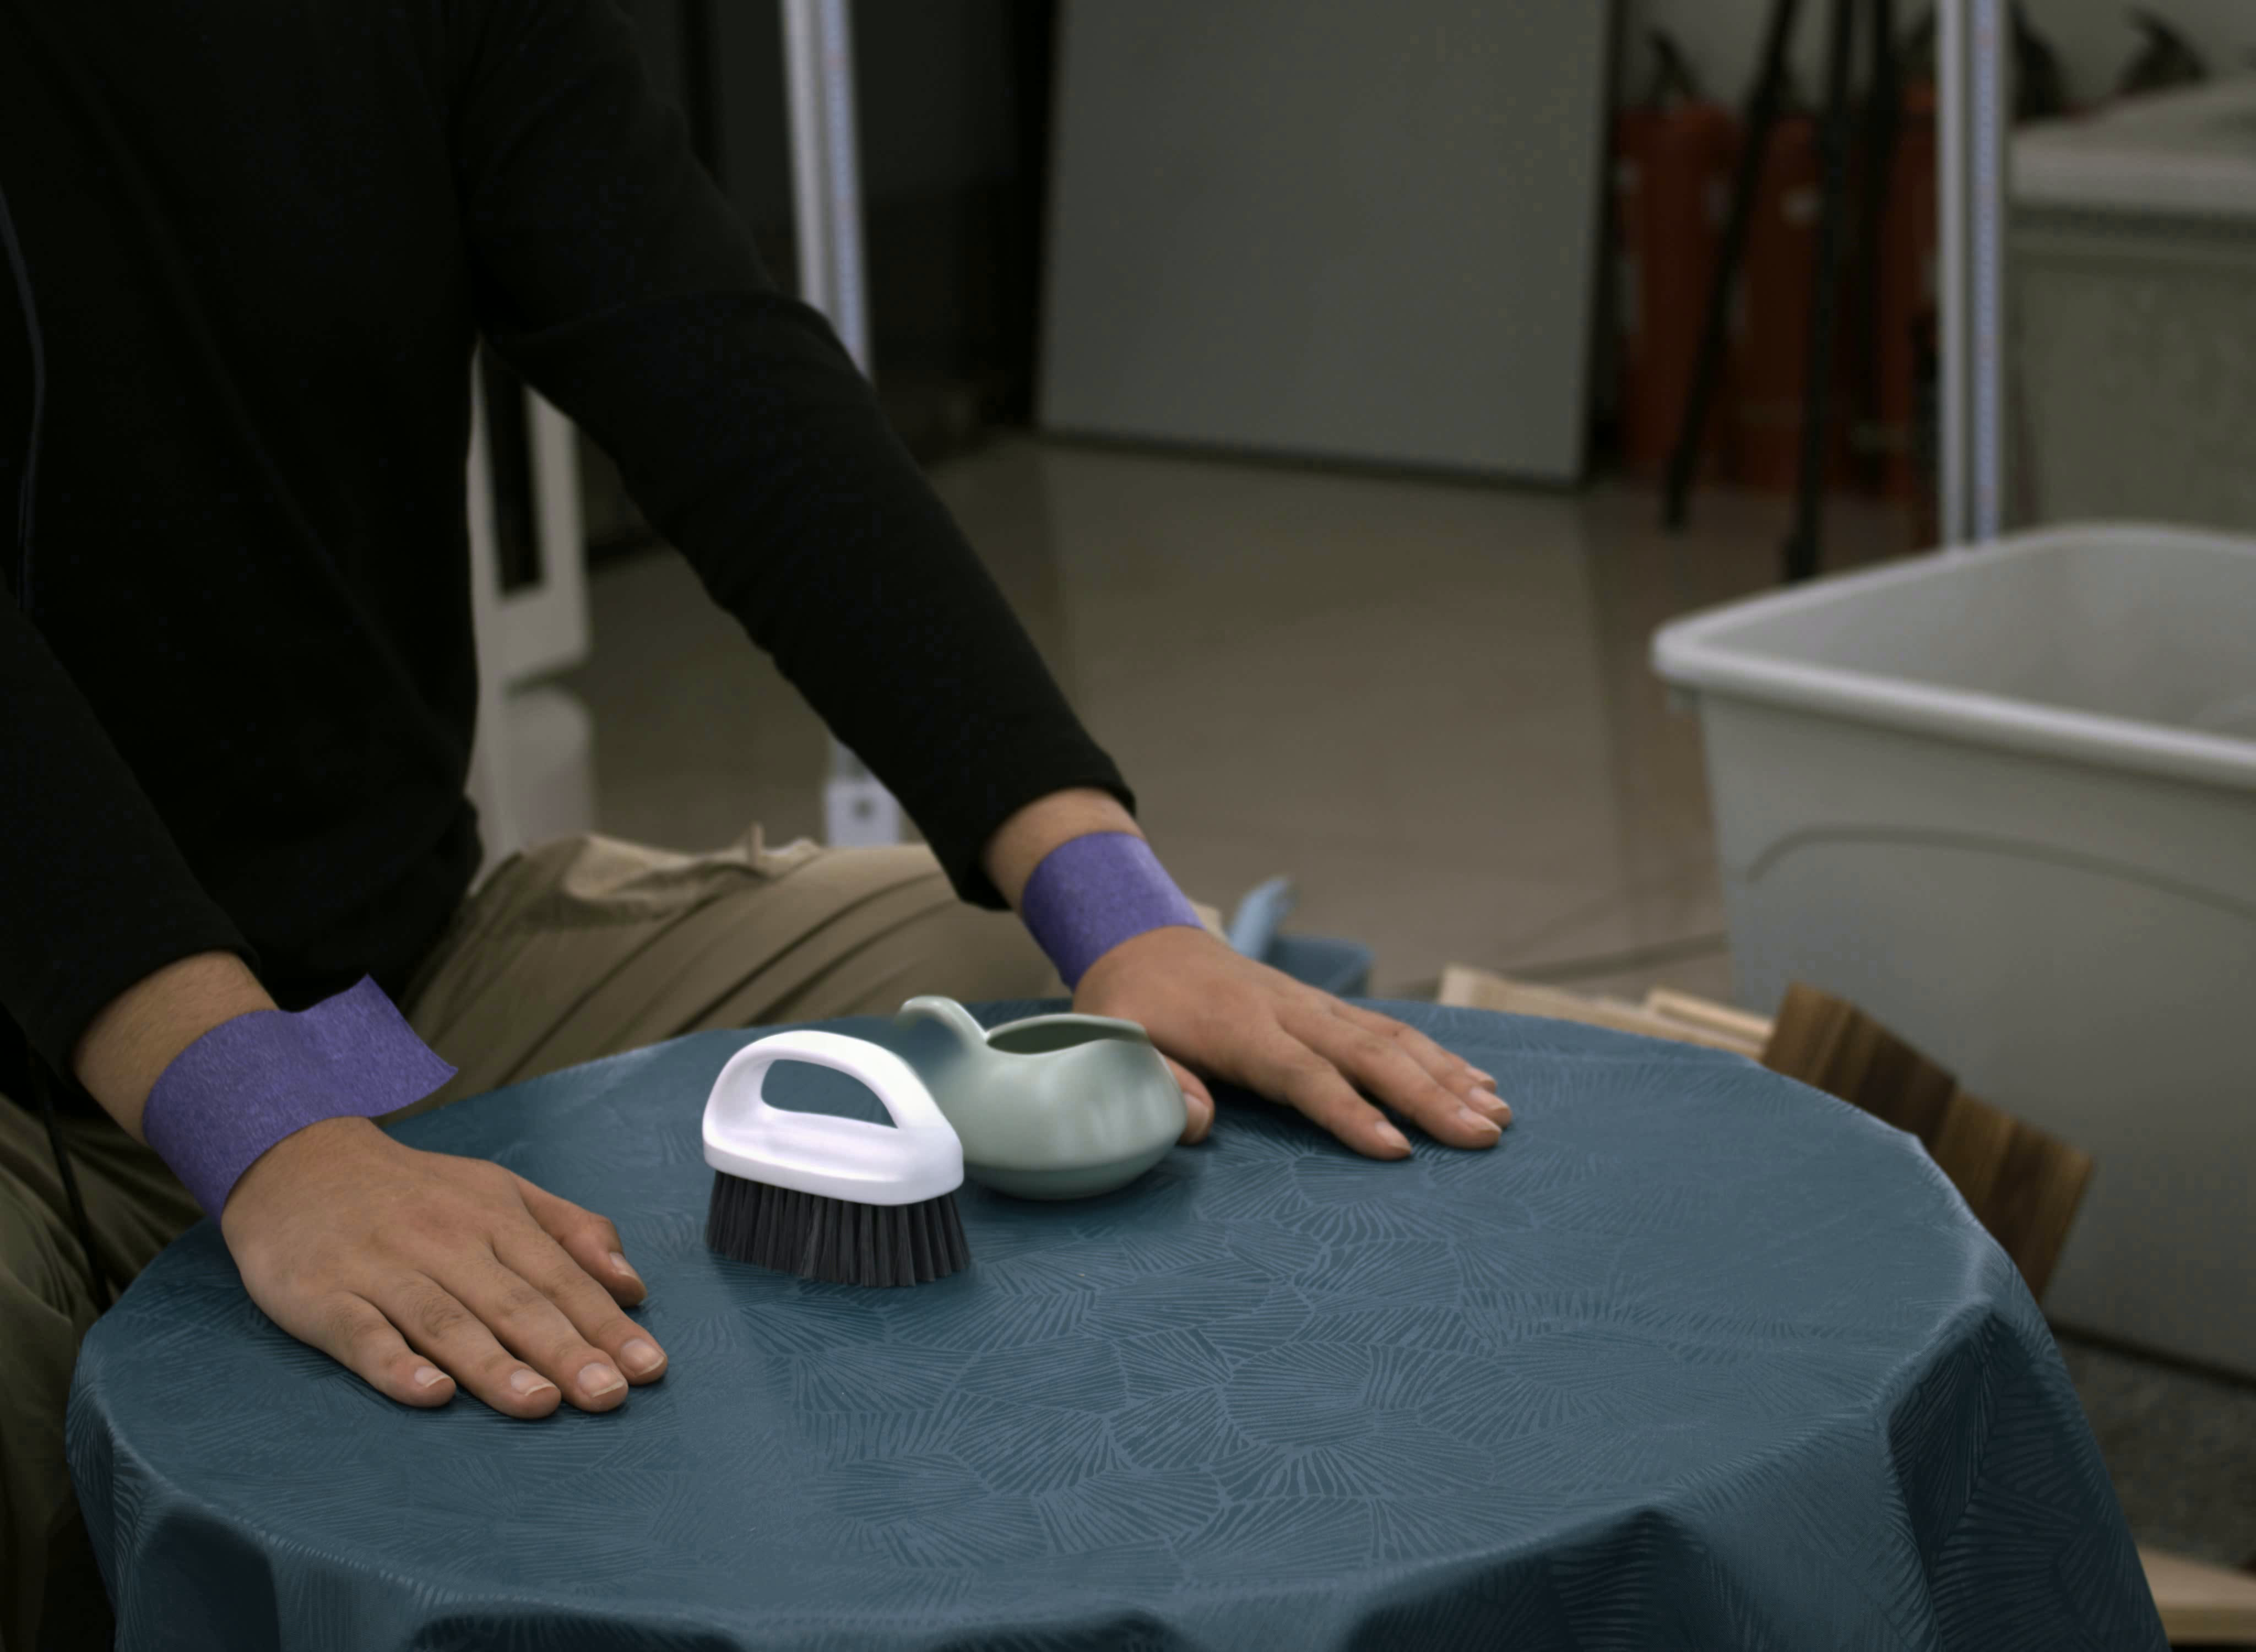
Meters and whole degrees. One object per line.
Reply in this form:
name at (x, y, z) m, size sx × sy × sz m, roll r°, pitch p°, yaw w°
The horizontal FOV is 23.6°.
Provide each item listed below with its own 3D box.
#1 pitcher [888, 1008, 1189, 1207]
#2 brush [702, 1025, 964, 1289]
pitcher at (-0.033, 0.091, 1.785) m, size 0.108 × 0.061 × 0.085 m, roll 0°, pitch 13°, yaw 29°
brush at (-0.095, 0.101, 1.719) m, size 0.100 × 0.073 × 0.049 m, roll 11°, pitch 18°, yaw 43°
